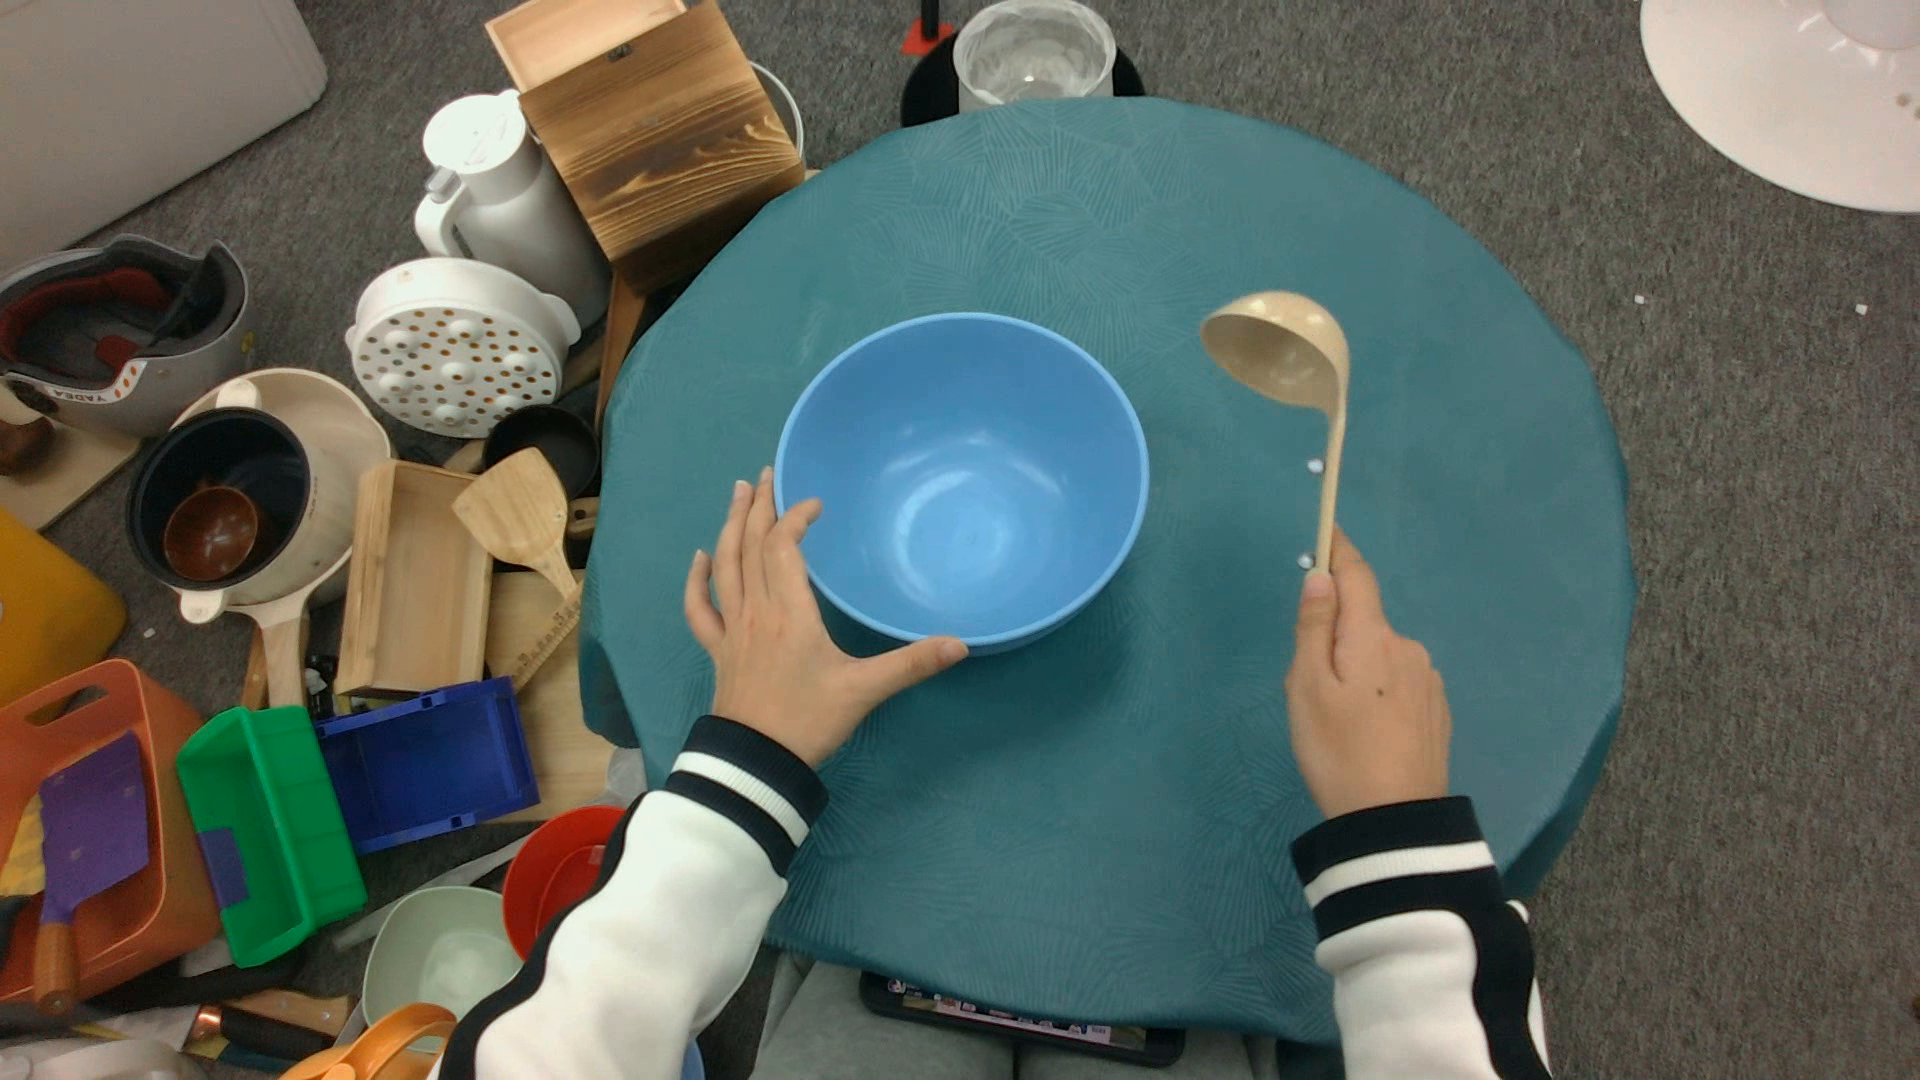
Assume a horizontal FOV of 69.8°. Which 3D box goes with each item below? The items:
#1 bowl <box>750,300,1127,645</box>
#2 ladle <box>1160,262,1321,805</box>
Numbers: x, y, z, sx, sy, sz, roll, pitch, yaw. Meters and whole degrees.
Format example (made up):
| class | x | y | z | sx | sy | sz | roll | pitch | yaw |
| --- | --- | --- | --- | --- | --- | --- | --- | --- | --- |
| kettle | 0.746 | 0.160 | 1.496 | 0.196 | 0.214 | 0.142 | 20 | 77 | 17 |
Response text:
| class | x | y | z | sx | sy | sz | roll | pitch | yaw |
| --- | --- | --- | --- | --- | --- | --- | --- | --- | --- |
| bowl | -0.011 | -0.024 | 0.757 | 0.196 | 0.095 | 0.197 | 0 | 65 | -1 |
| ladle | 0.126 | -0.008 | 0.634 | 0.073 | 0.072 | 0.255 | 3 | 71 | 5 |
